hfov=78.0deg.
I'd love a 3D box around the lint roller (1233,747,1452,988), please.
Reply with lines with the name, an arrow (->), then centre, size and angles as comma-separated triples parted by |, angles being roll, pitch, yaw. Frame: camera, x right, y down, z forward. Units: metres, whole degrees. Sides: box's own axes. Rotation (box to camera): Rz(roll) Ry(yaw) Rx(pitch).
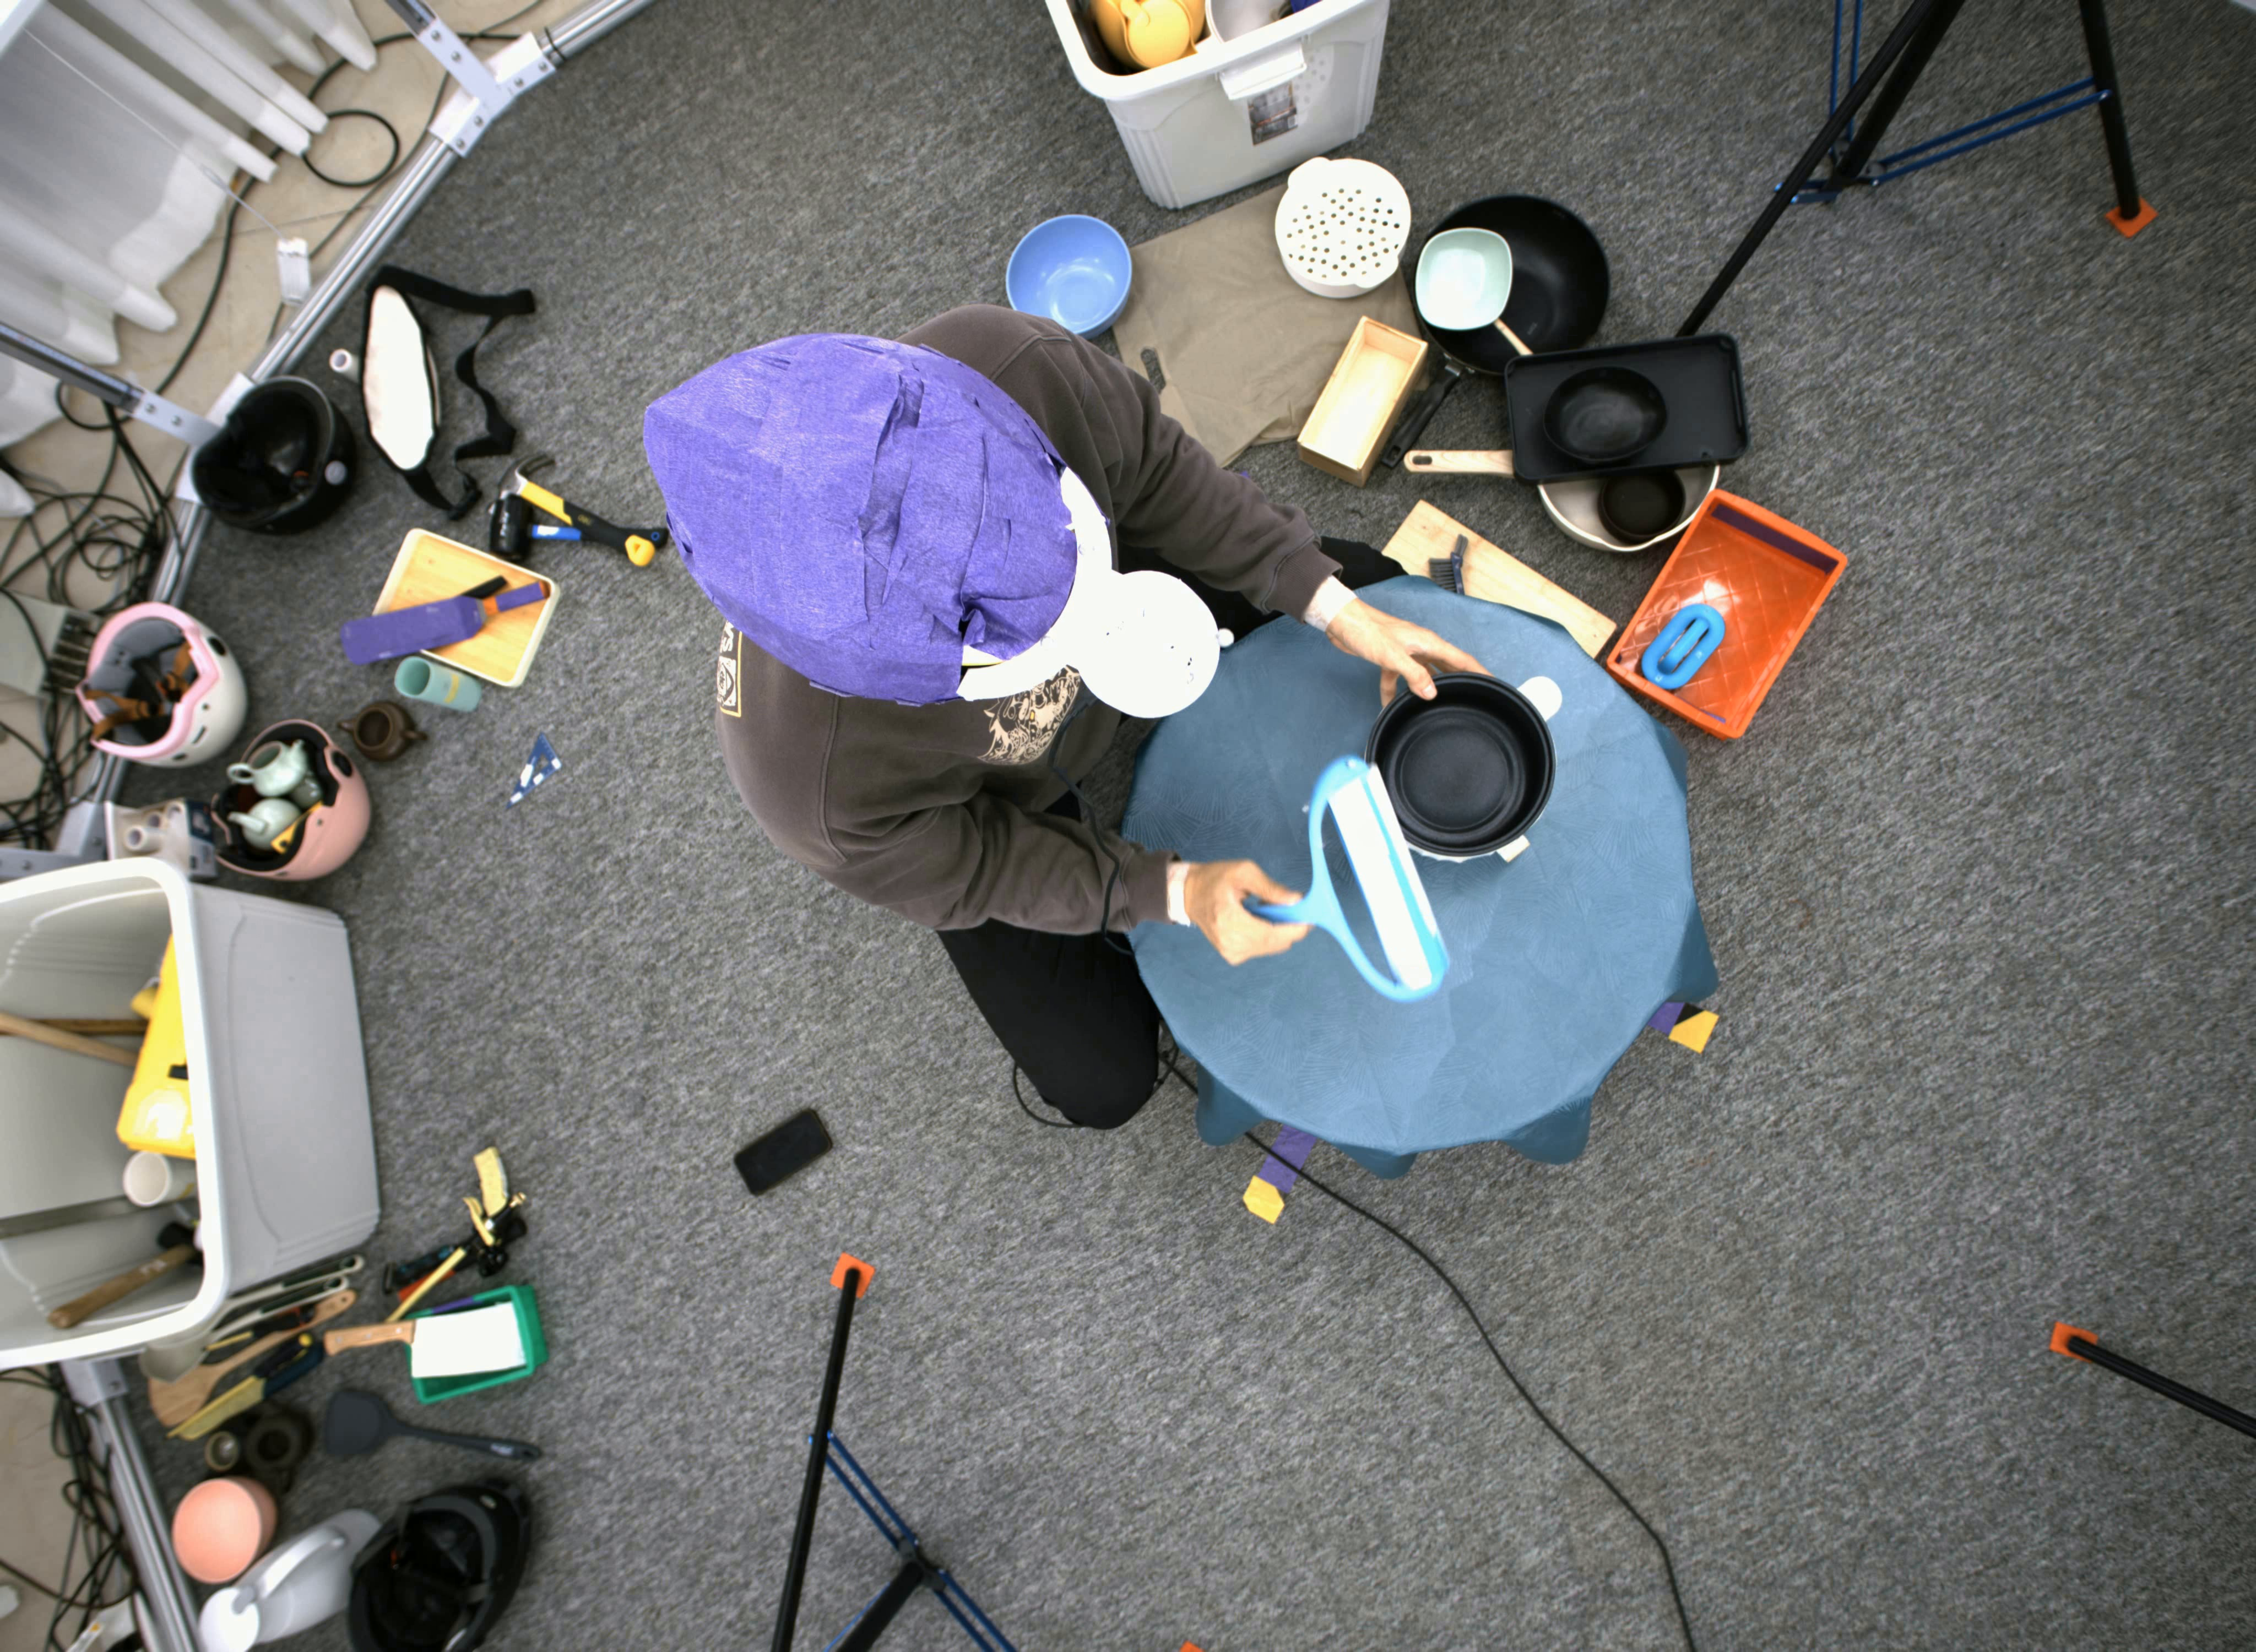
lint roller -> 0.176, 0.058, 1.244 | 0.182, 0.067, 0.230 | -23, 102, 18

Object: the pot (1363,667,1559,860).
pot -> 0.334, -0.054, 1.381 | 0.242, 0.143, 0.189 | -41, 77, 7
